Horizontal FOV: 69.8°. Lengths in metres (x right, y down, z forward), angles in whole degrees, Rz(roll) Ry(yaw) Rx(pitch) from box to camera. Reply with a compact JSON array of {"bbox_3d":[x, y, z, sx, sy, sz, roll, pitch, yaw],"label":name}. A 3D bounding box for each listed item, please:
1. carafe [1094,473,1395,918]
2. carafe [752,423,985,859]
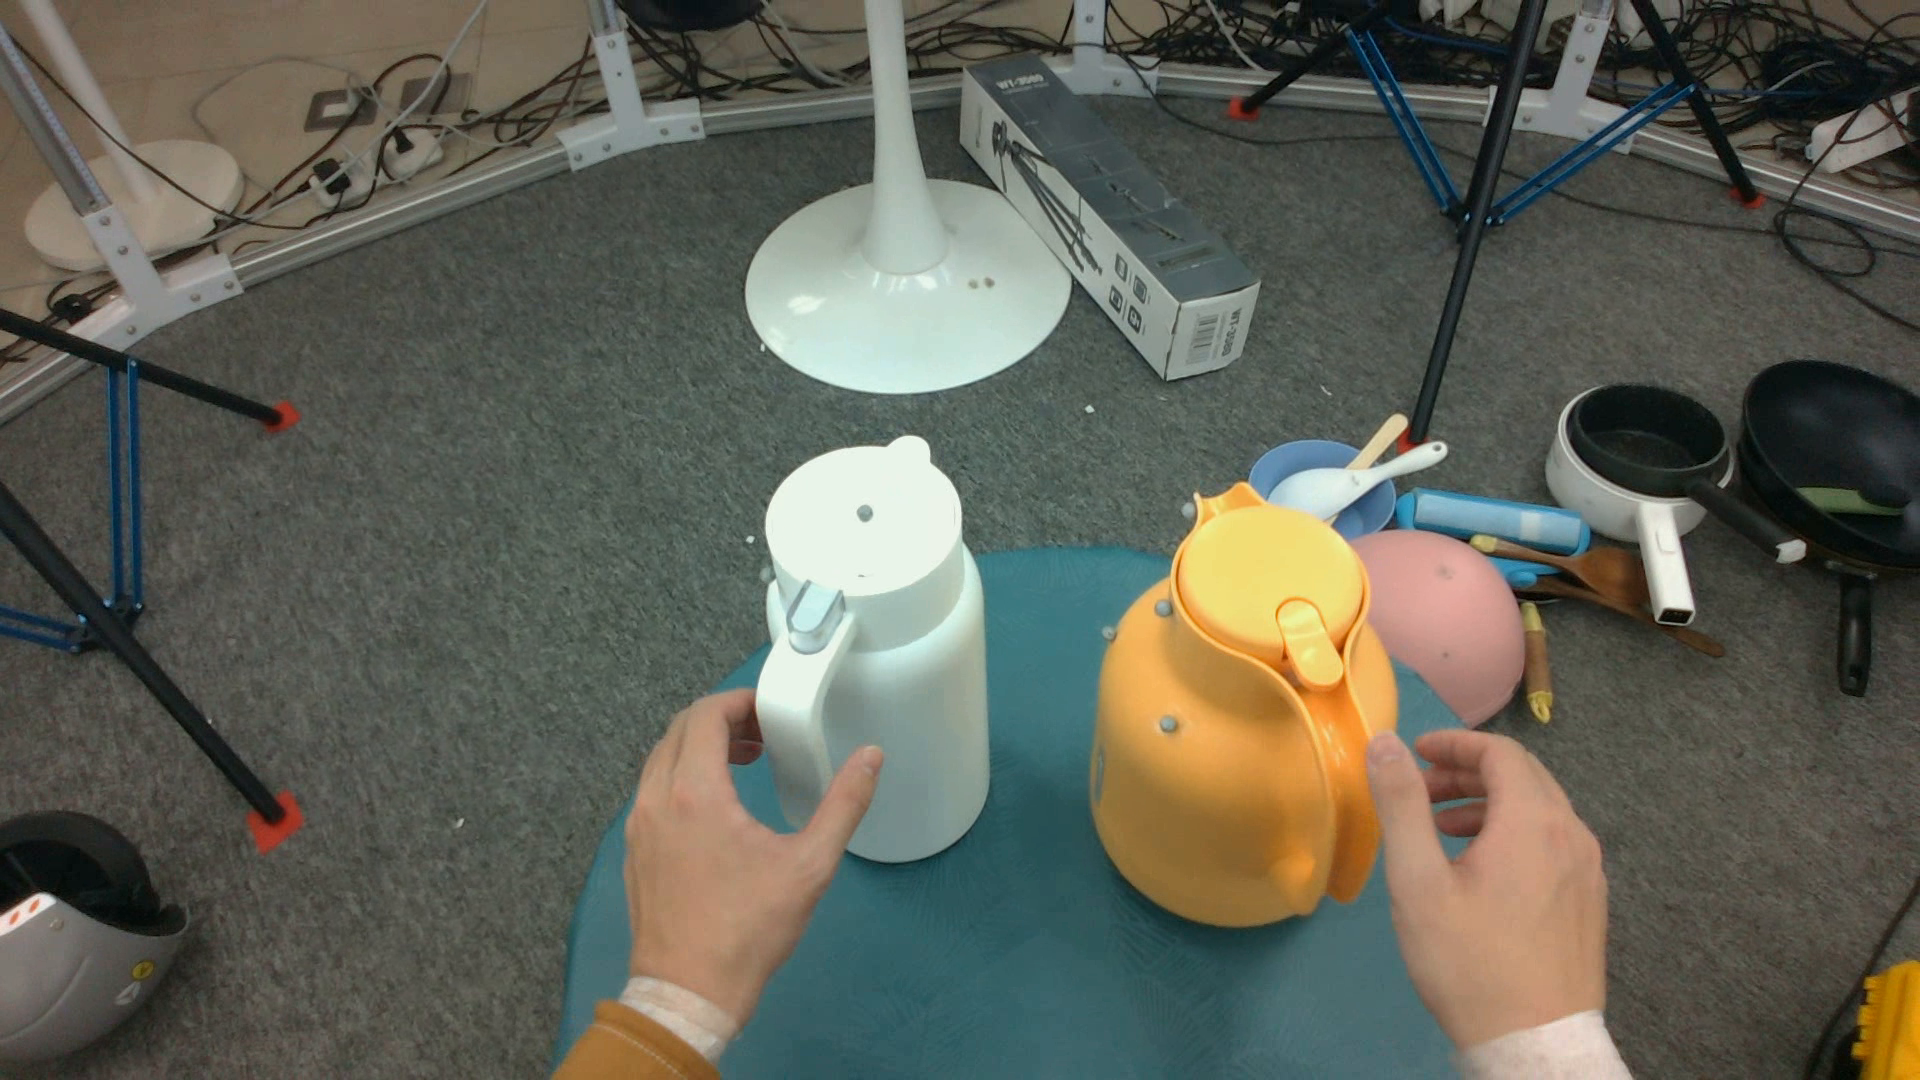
[{"bbox_3d":[0.159,0.104,0.753,0.163,0.259,0.203,-13,49,-4],"label":"carafe"},{"bbox_3d":[-0.051,0.083,0.774,0.124,0.267,0.173,16,53,13],"label":"carafe"}]
